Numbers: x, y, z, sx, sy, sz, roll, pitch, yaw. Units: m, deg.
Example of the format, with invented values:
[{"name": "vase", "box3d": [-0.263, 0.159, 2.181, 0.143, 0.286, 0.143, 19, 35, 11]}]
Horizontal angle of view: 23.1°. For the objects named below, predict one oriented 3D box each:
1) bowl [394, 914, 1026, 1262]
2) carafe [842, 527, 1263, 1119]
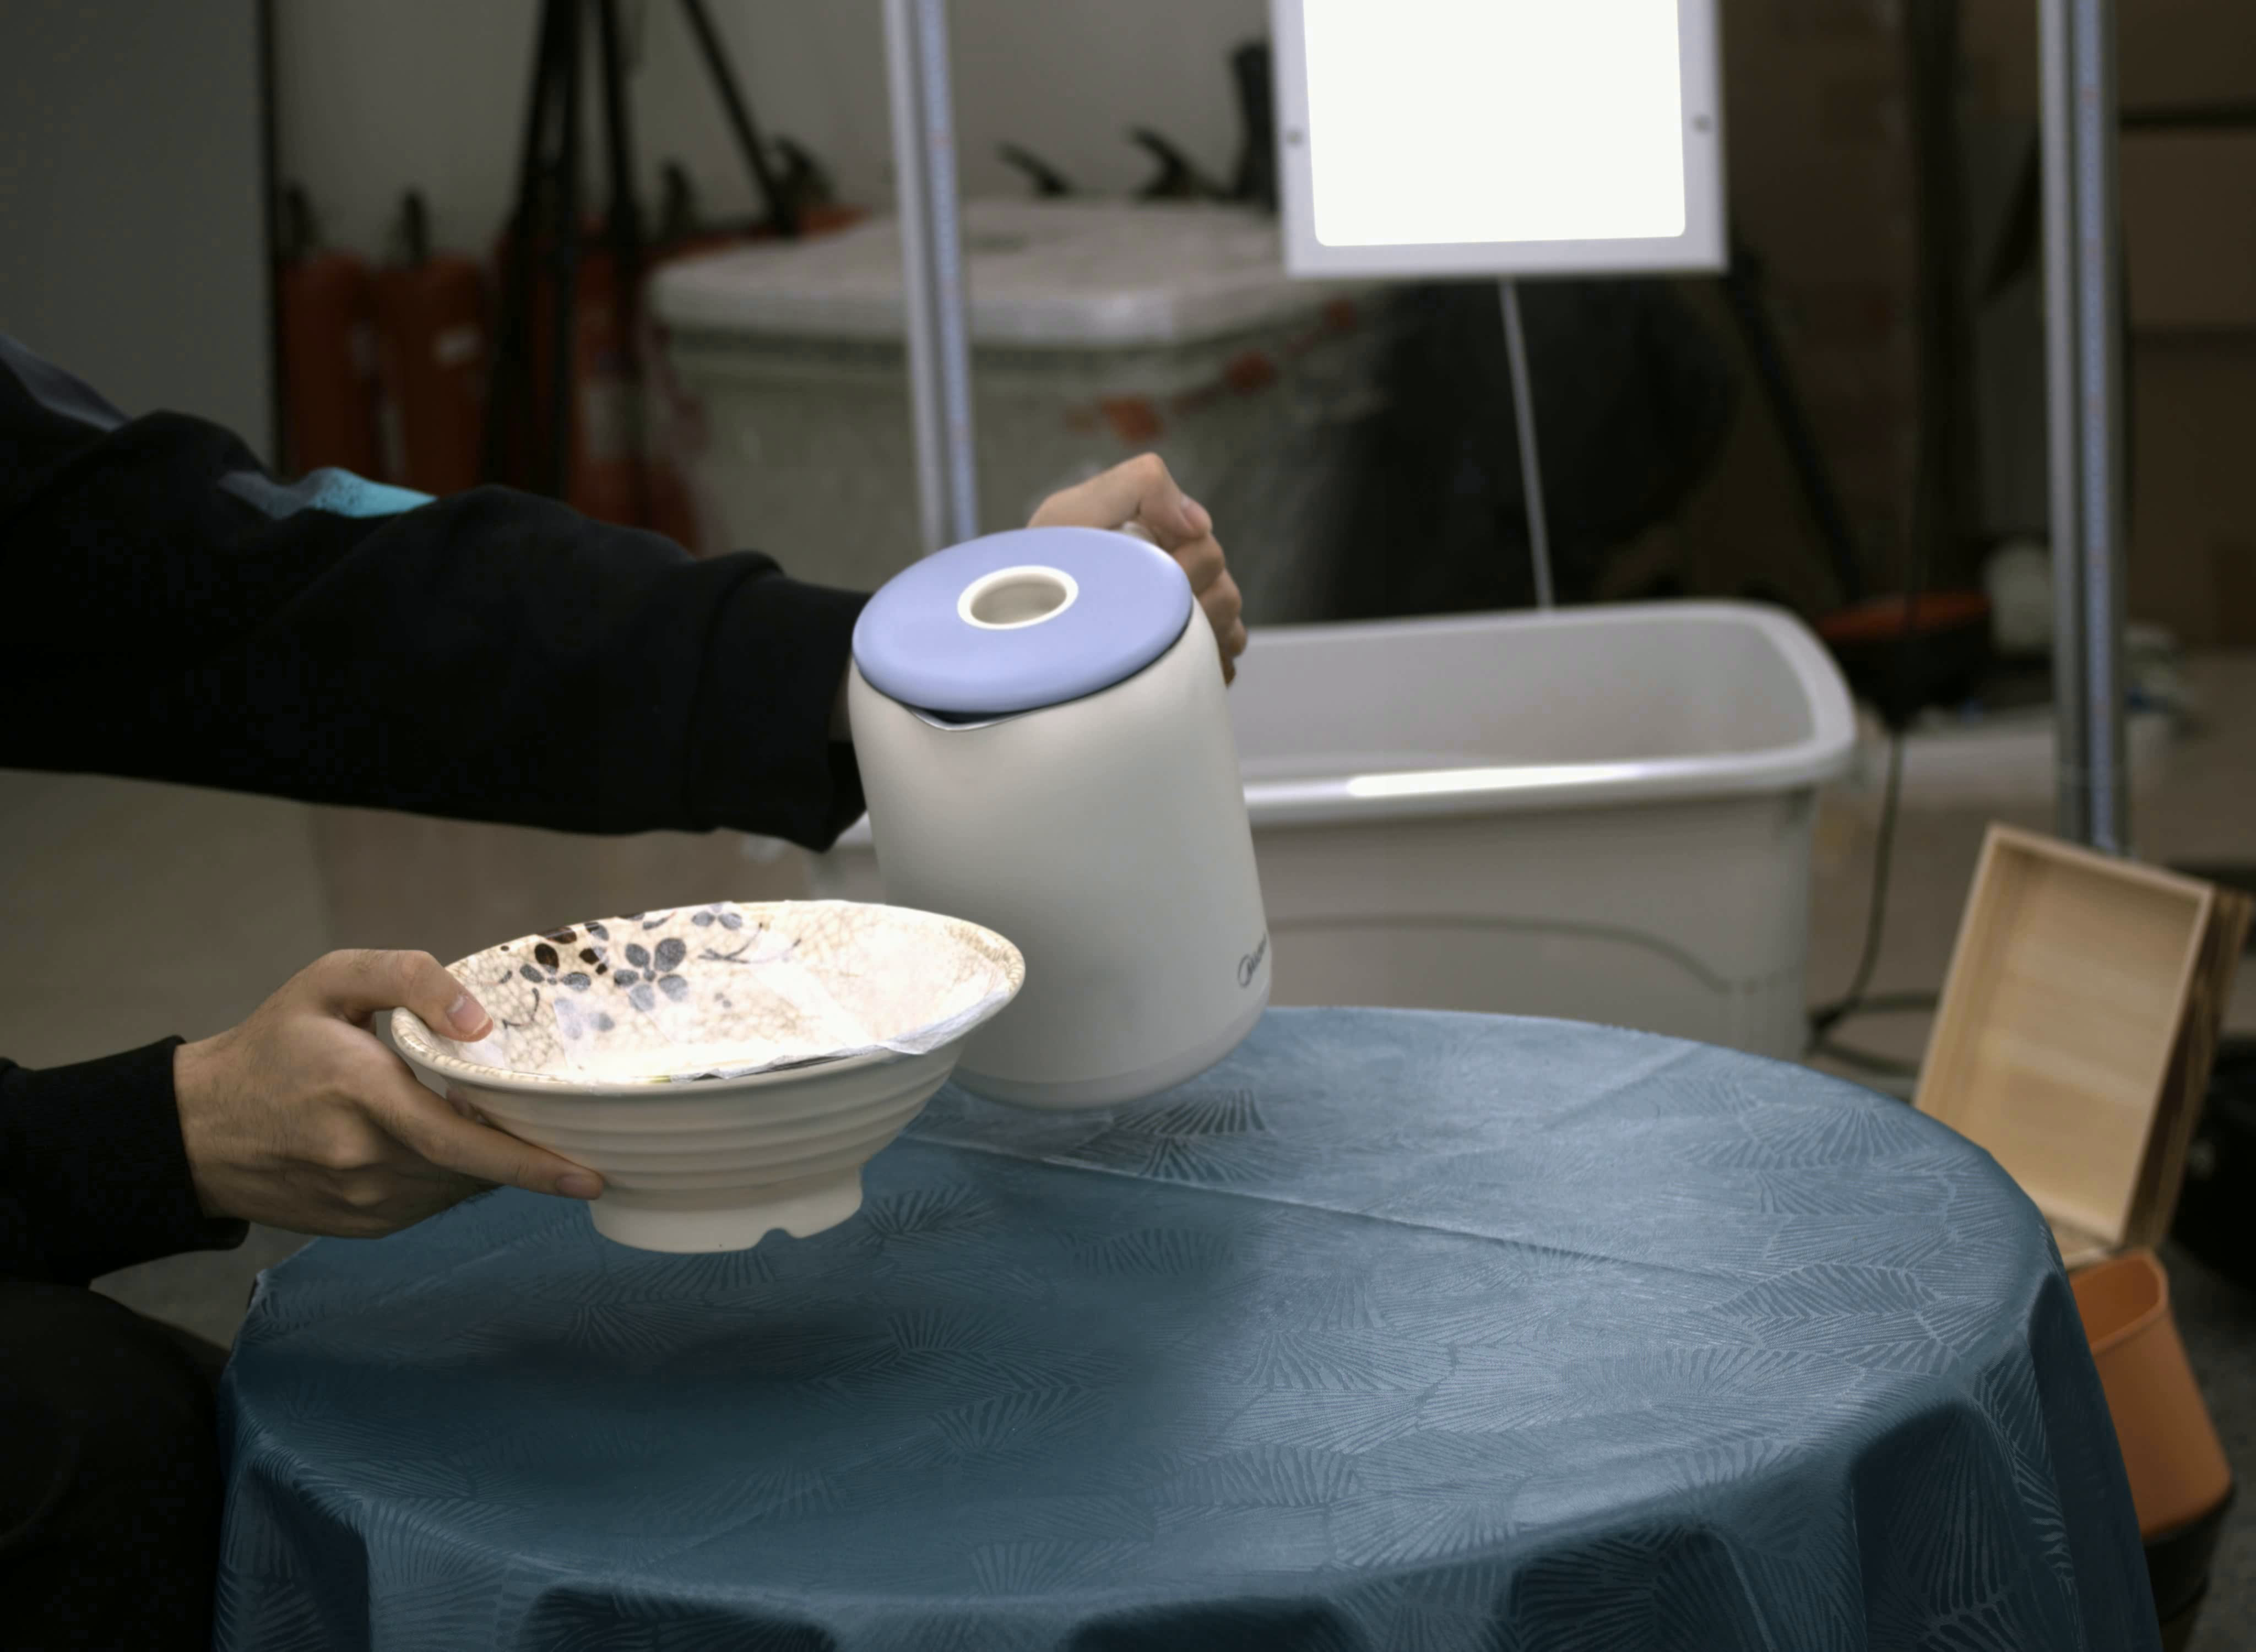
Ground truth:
[{"name": "bowl", "box3d": [-0.128, 0.089, 1.763, 0.203, 0.078, 0.204, -8, 12, 0]}, {"name": "carafe", "box3d": [-0.019, -0.014, 1.940, 0.134, 0.183, 0.188, 3, 31, 20]}]
